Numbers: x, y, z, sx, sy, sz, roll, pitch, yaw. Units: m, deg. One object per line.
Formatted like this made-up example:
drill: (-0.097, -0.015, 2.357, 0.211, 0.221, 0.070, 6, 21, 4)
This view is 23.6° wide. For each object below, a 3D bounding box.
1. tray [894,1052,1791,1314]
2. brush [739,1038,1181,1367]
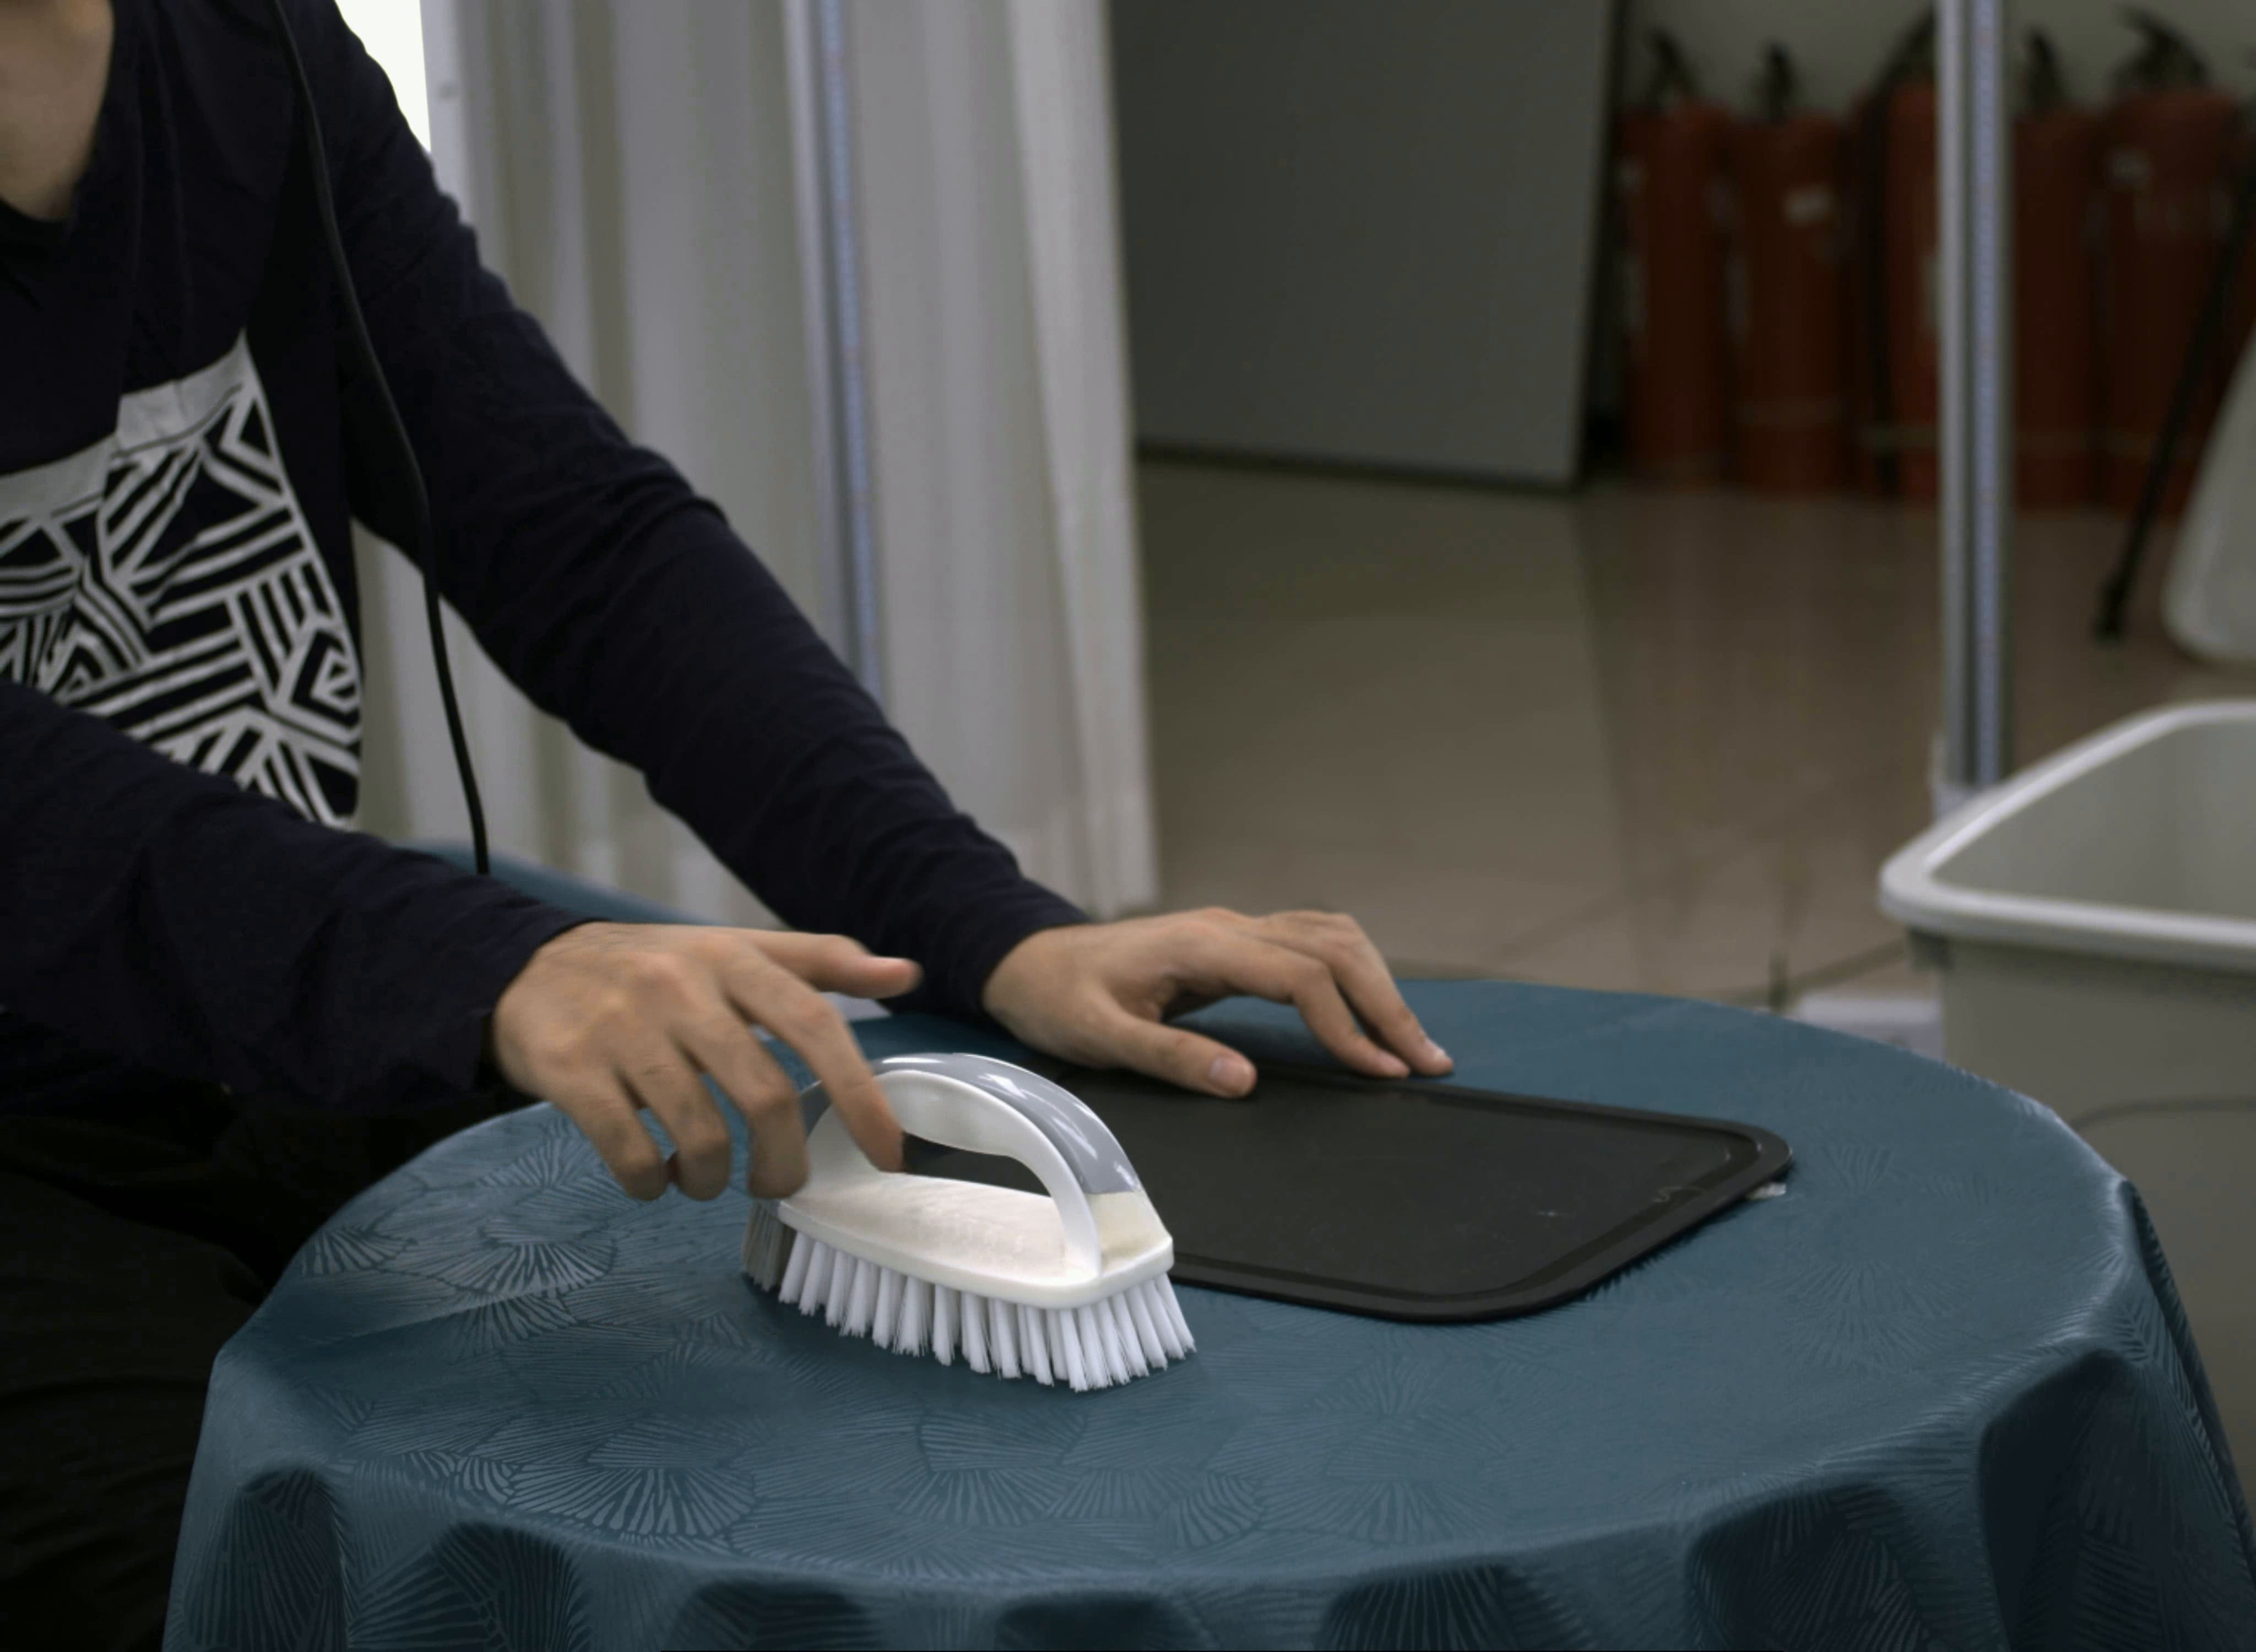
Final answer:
tray: (0.044, 0.113, 1.780, 0.328, 0.010, 0.207, 6, 17, 38)
brush: (-0.061, 0.110, 1.643, 0.060, 0.095, 0.177, -13, 13, -43)
